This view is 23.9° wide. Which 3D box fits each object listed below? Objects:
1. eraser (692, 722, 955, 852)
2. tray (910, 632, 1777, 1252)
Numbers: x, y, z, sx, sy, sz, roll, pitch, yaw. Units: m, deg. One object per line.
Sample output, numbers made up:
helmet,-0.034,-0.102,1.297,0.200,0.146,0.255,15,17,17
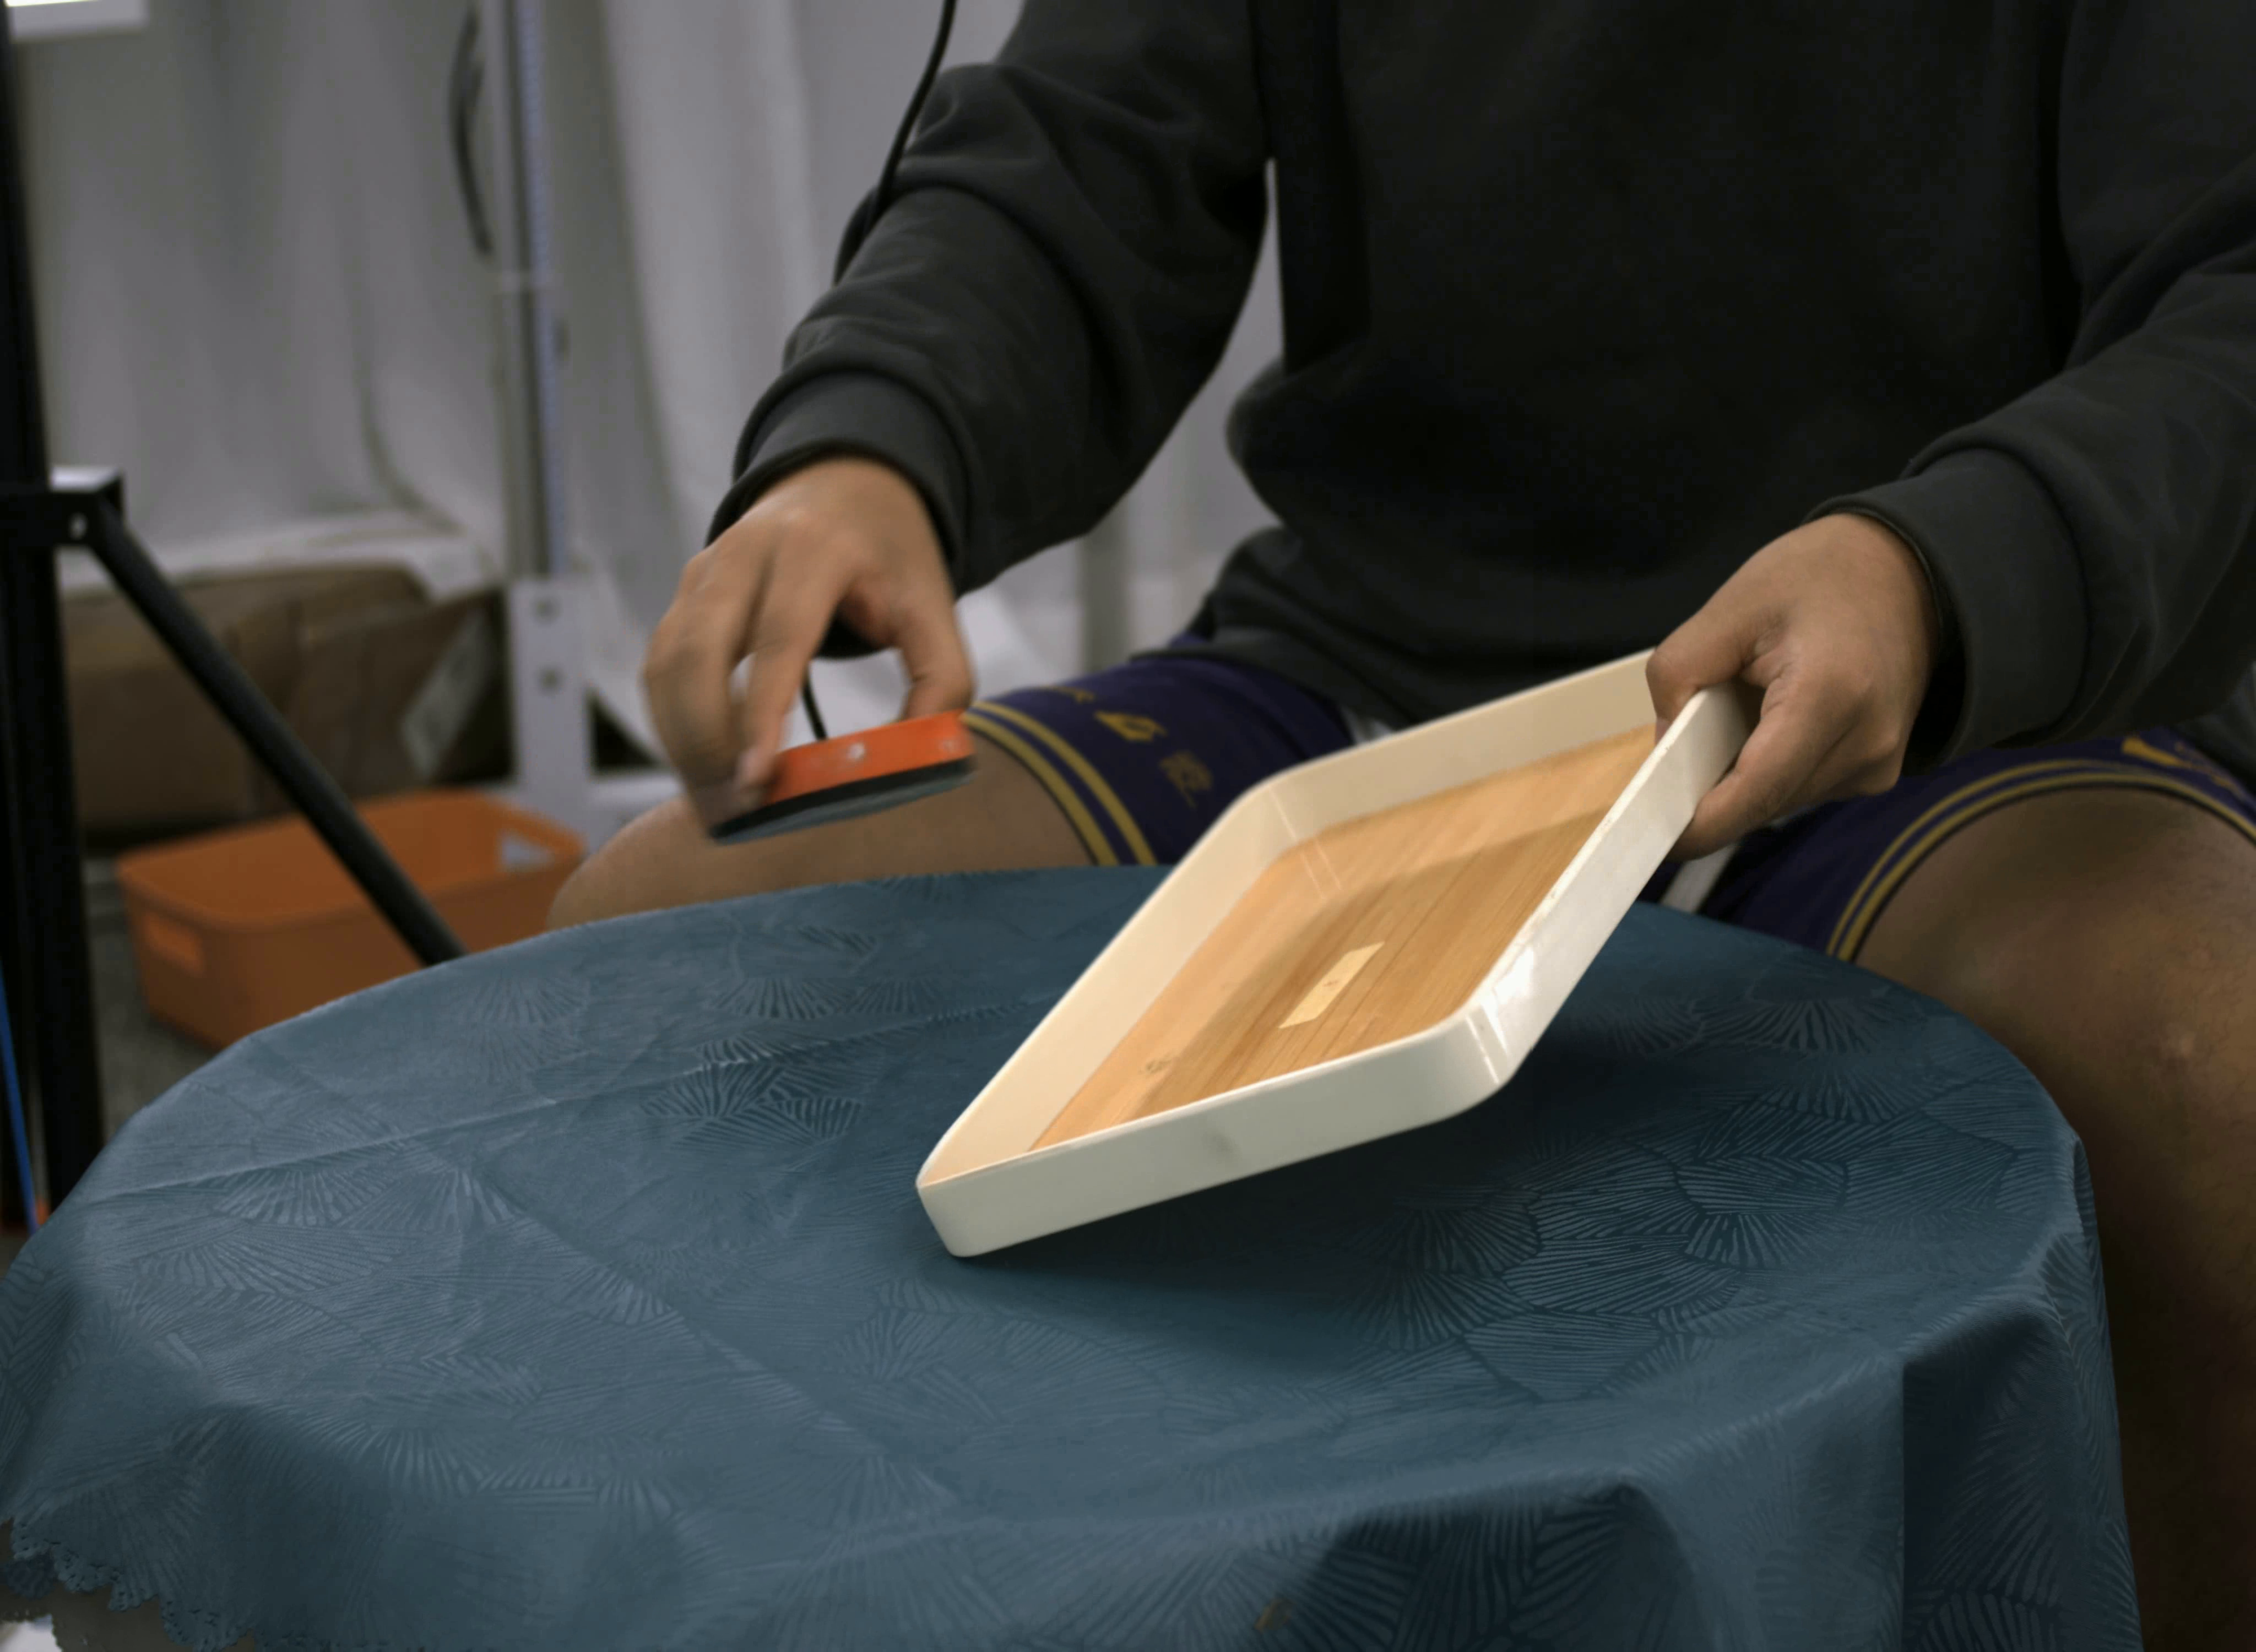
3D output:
eraser,-0.096,-0.012,1.670,0.058,0.023,0.109,-12,-1,-20
tray,0.071,0.032,1.584,0.194,0.027,0.297,-19,15,31
